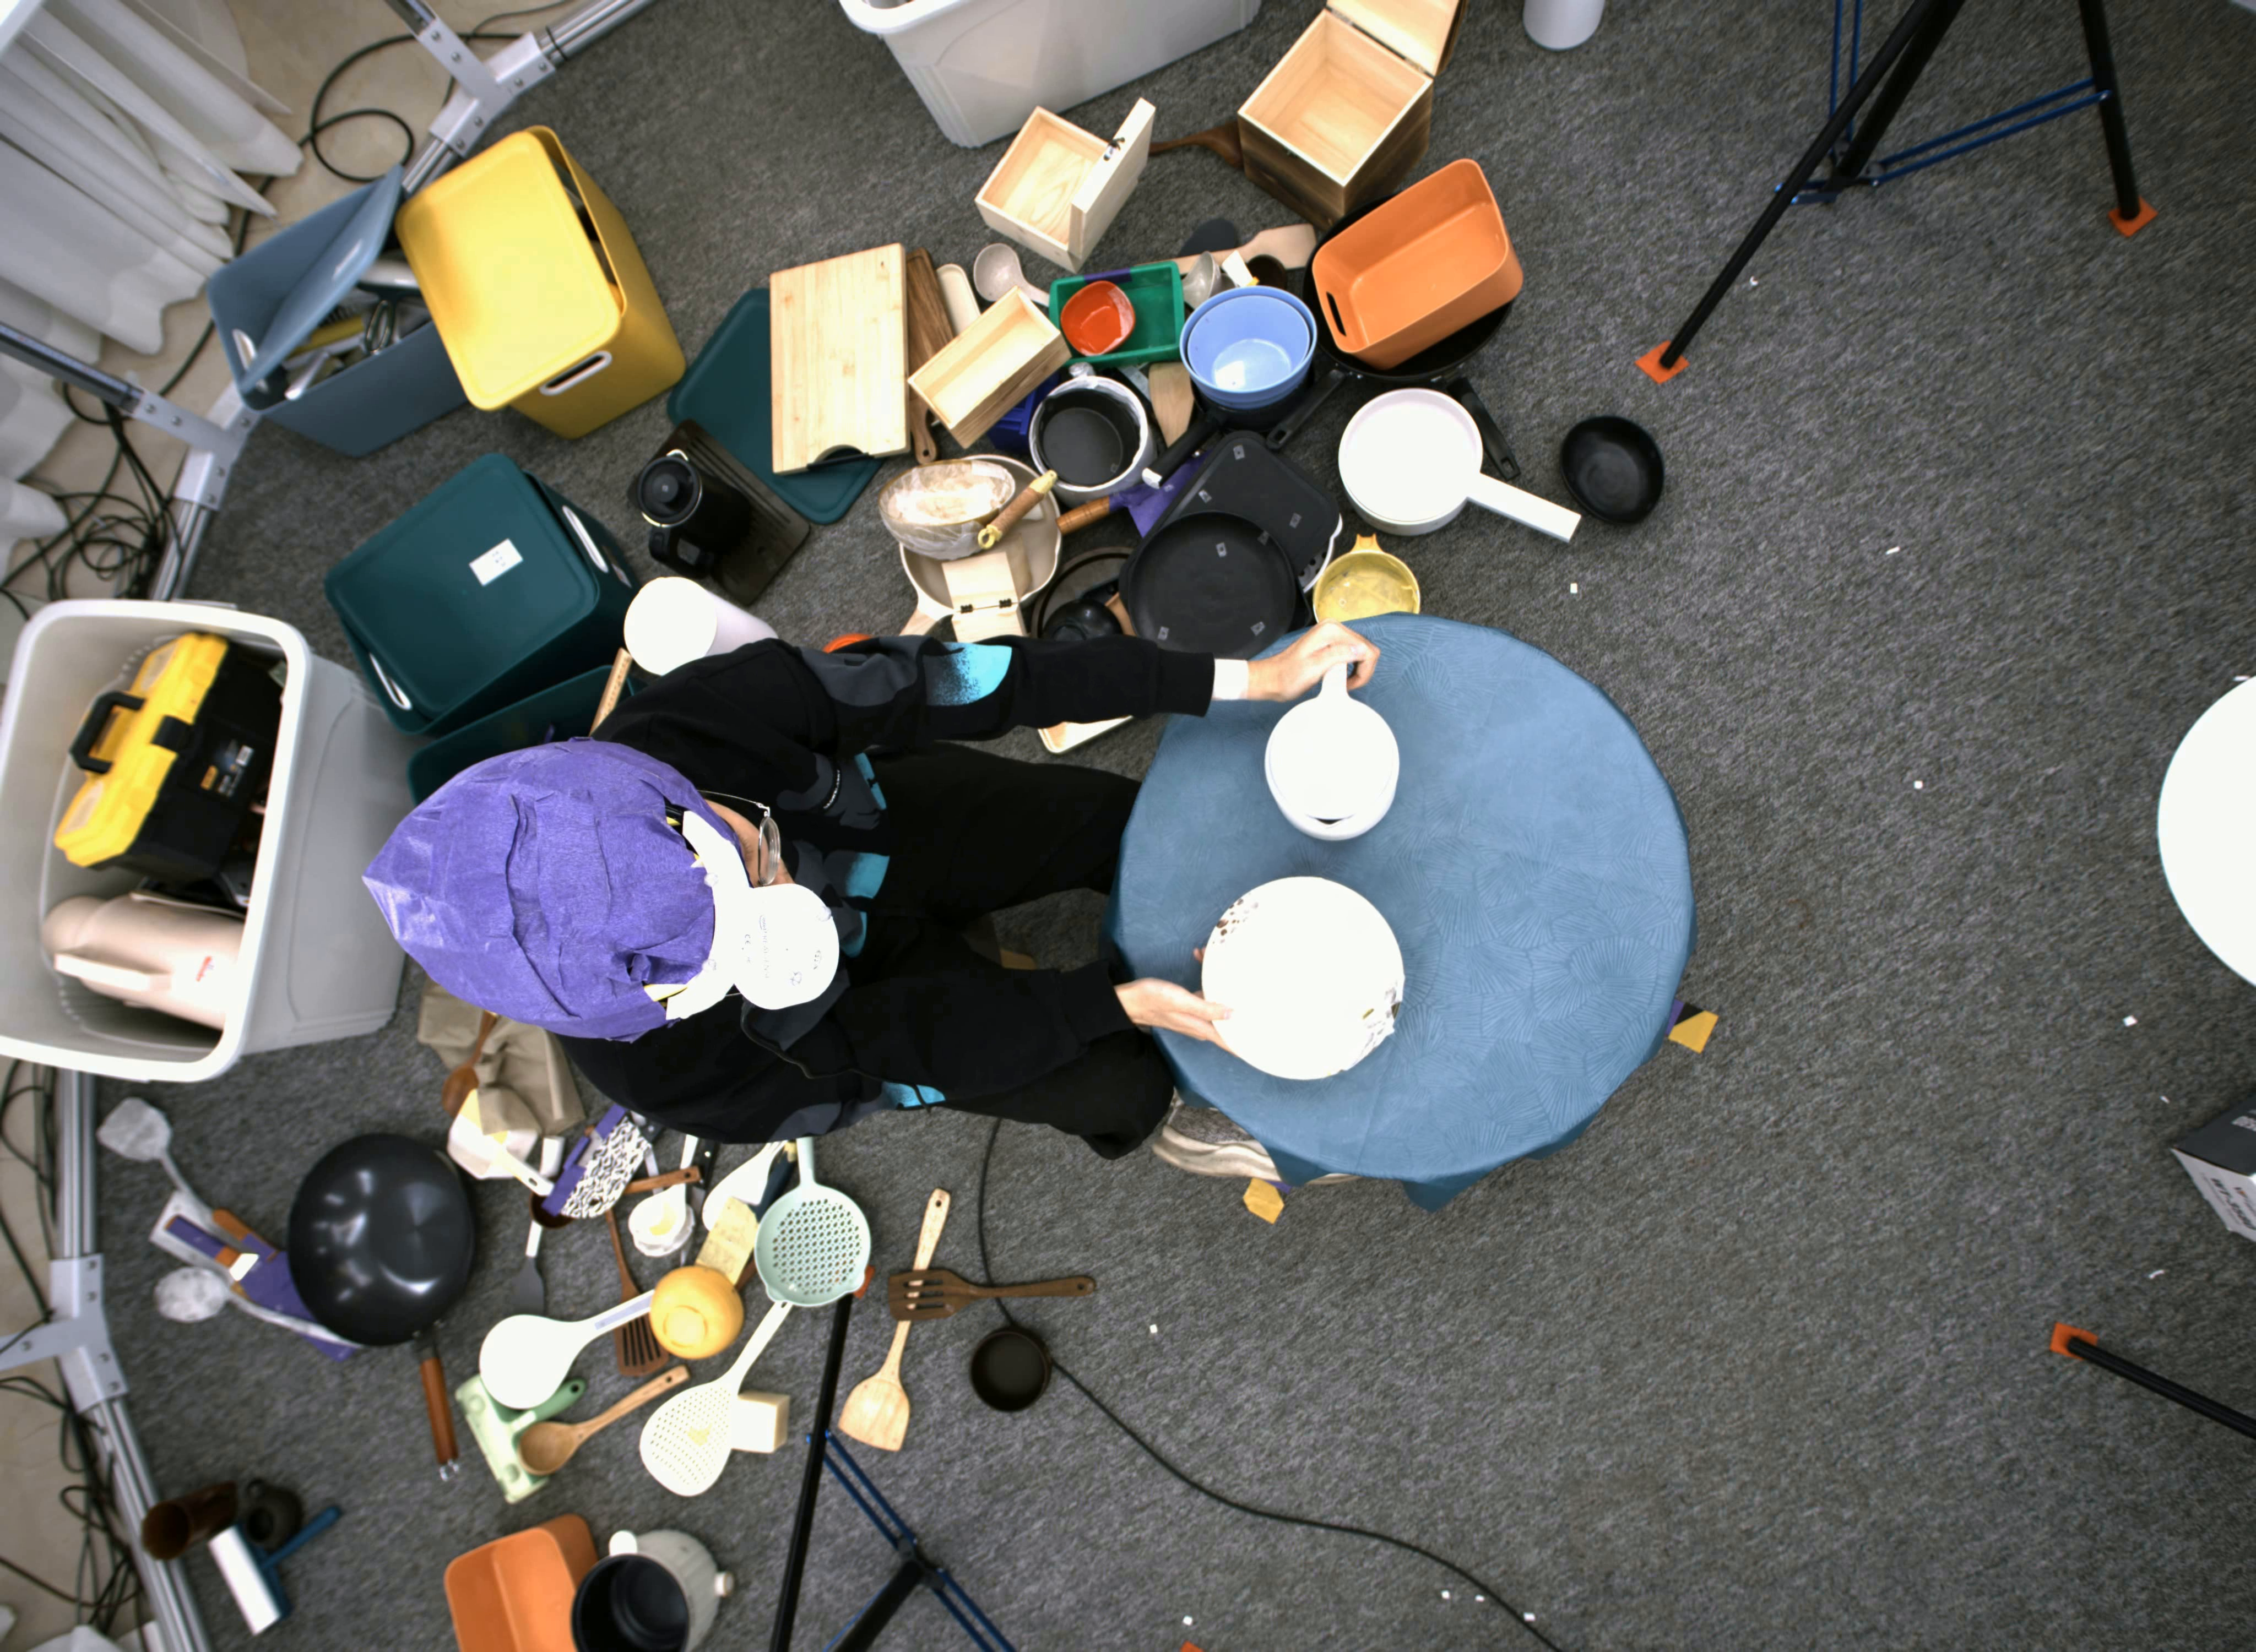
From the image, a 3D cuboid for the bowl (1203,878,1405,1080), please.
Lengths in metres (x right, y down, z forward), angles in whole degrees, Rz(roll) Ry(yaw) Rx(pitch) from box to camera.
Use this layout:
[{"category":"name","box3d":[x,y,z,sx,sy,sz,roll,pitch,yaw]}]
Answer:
[{"category":"bowl","box3d":[0.183,0.157,1.430,0.205,0.078,0.203,-1,86,13]}]

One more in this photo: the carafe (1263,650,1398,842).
[{"category":"carafe","box3d":[0.204,-0.082,1.389,0.132,0.183,0.190,0,83,9]}]
